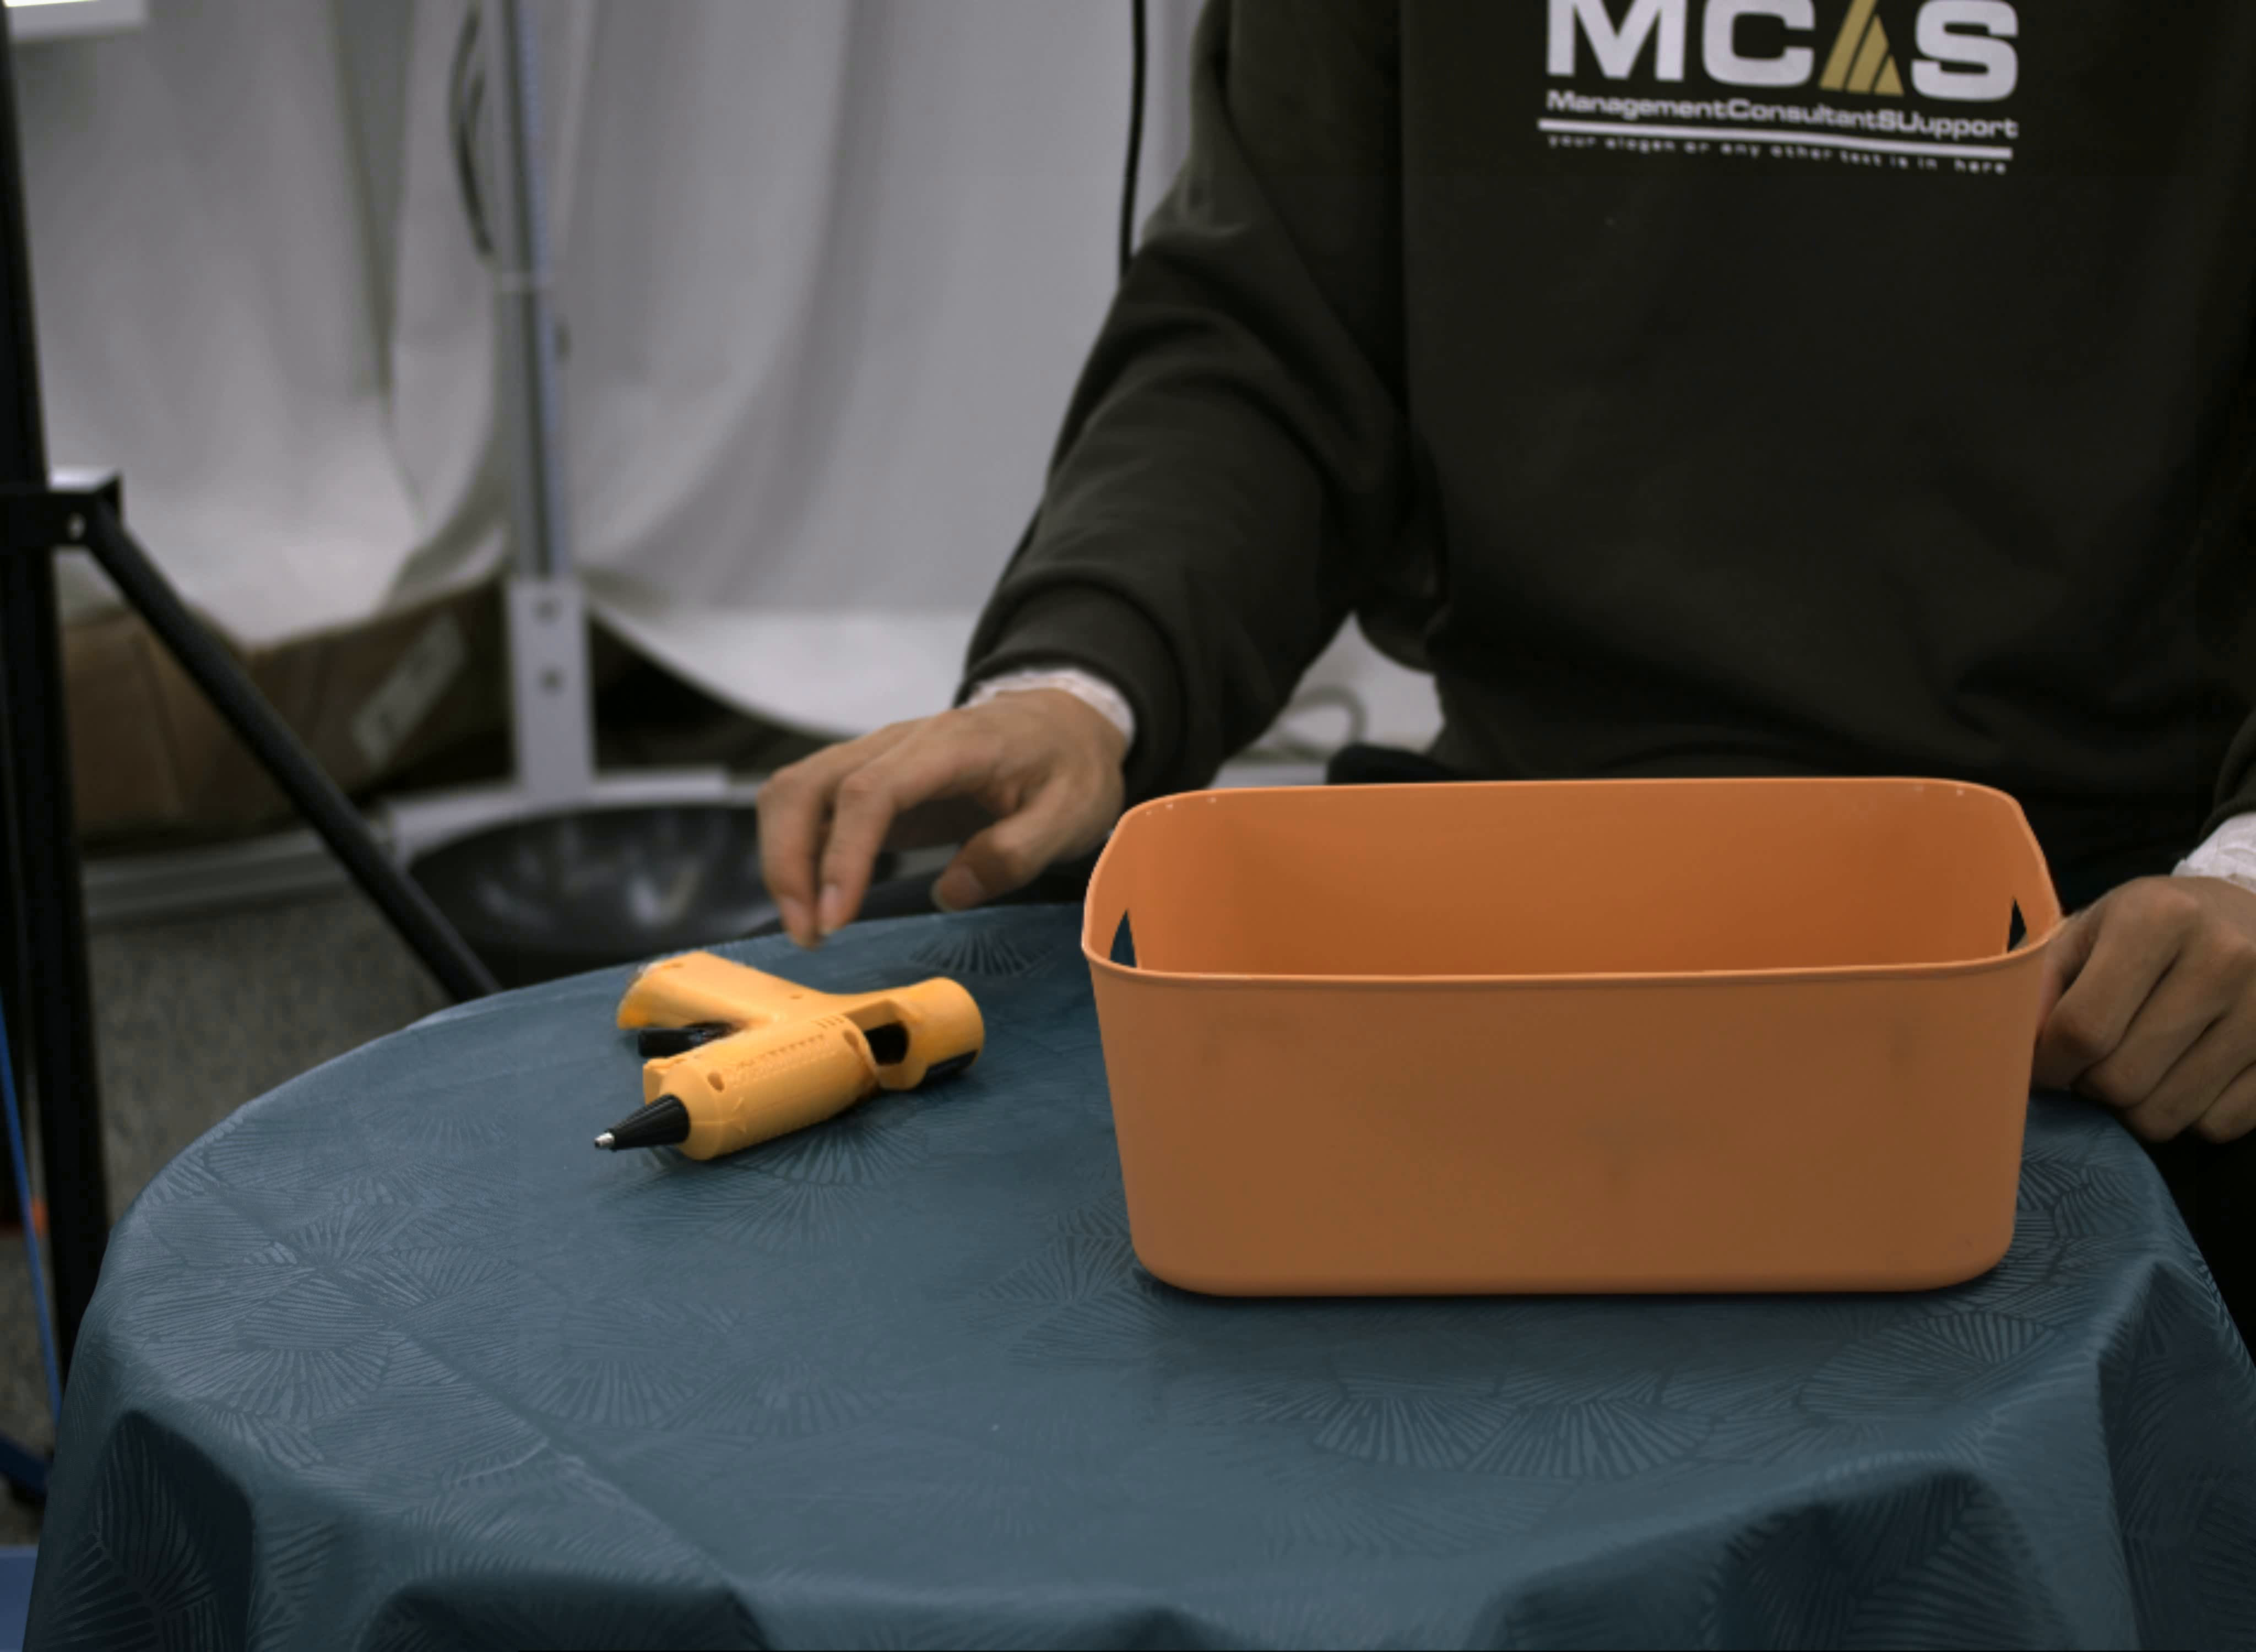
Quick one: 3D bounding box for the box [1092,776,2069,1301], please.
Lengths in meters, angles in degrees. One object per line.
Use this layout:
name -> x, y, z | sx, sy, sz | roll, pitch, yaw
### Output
box -> 0.129, 0.060, 1.517 | 0.273, 0.102, 0.199 | -1, 15, 6

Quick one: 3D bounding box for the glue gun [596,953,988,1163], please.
glue gun -> -0.139, 0.073, 1.657 | 0.136, 0.031, 0.148 | 9, 19, 40
